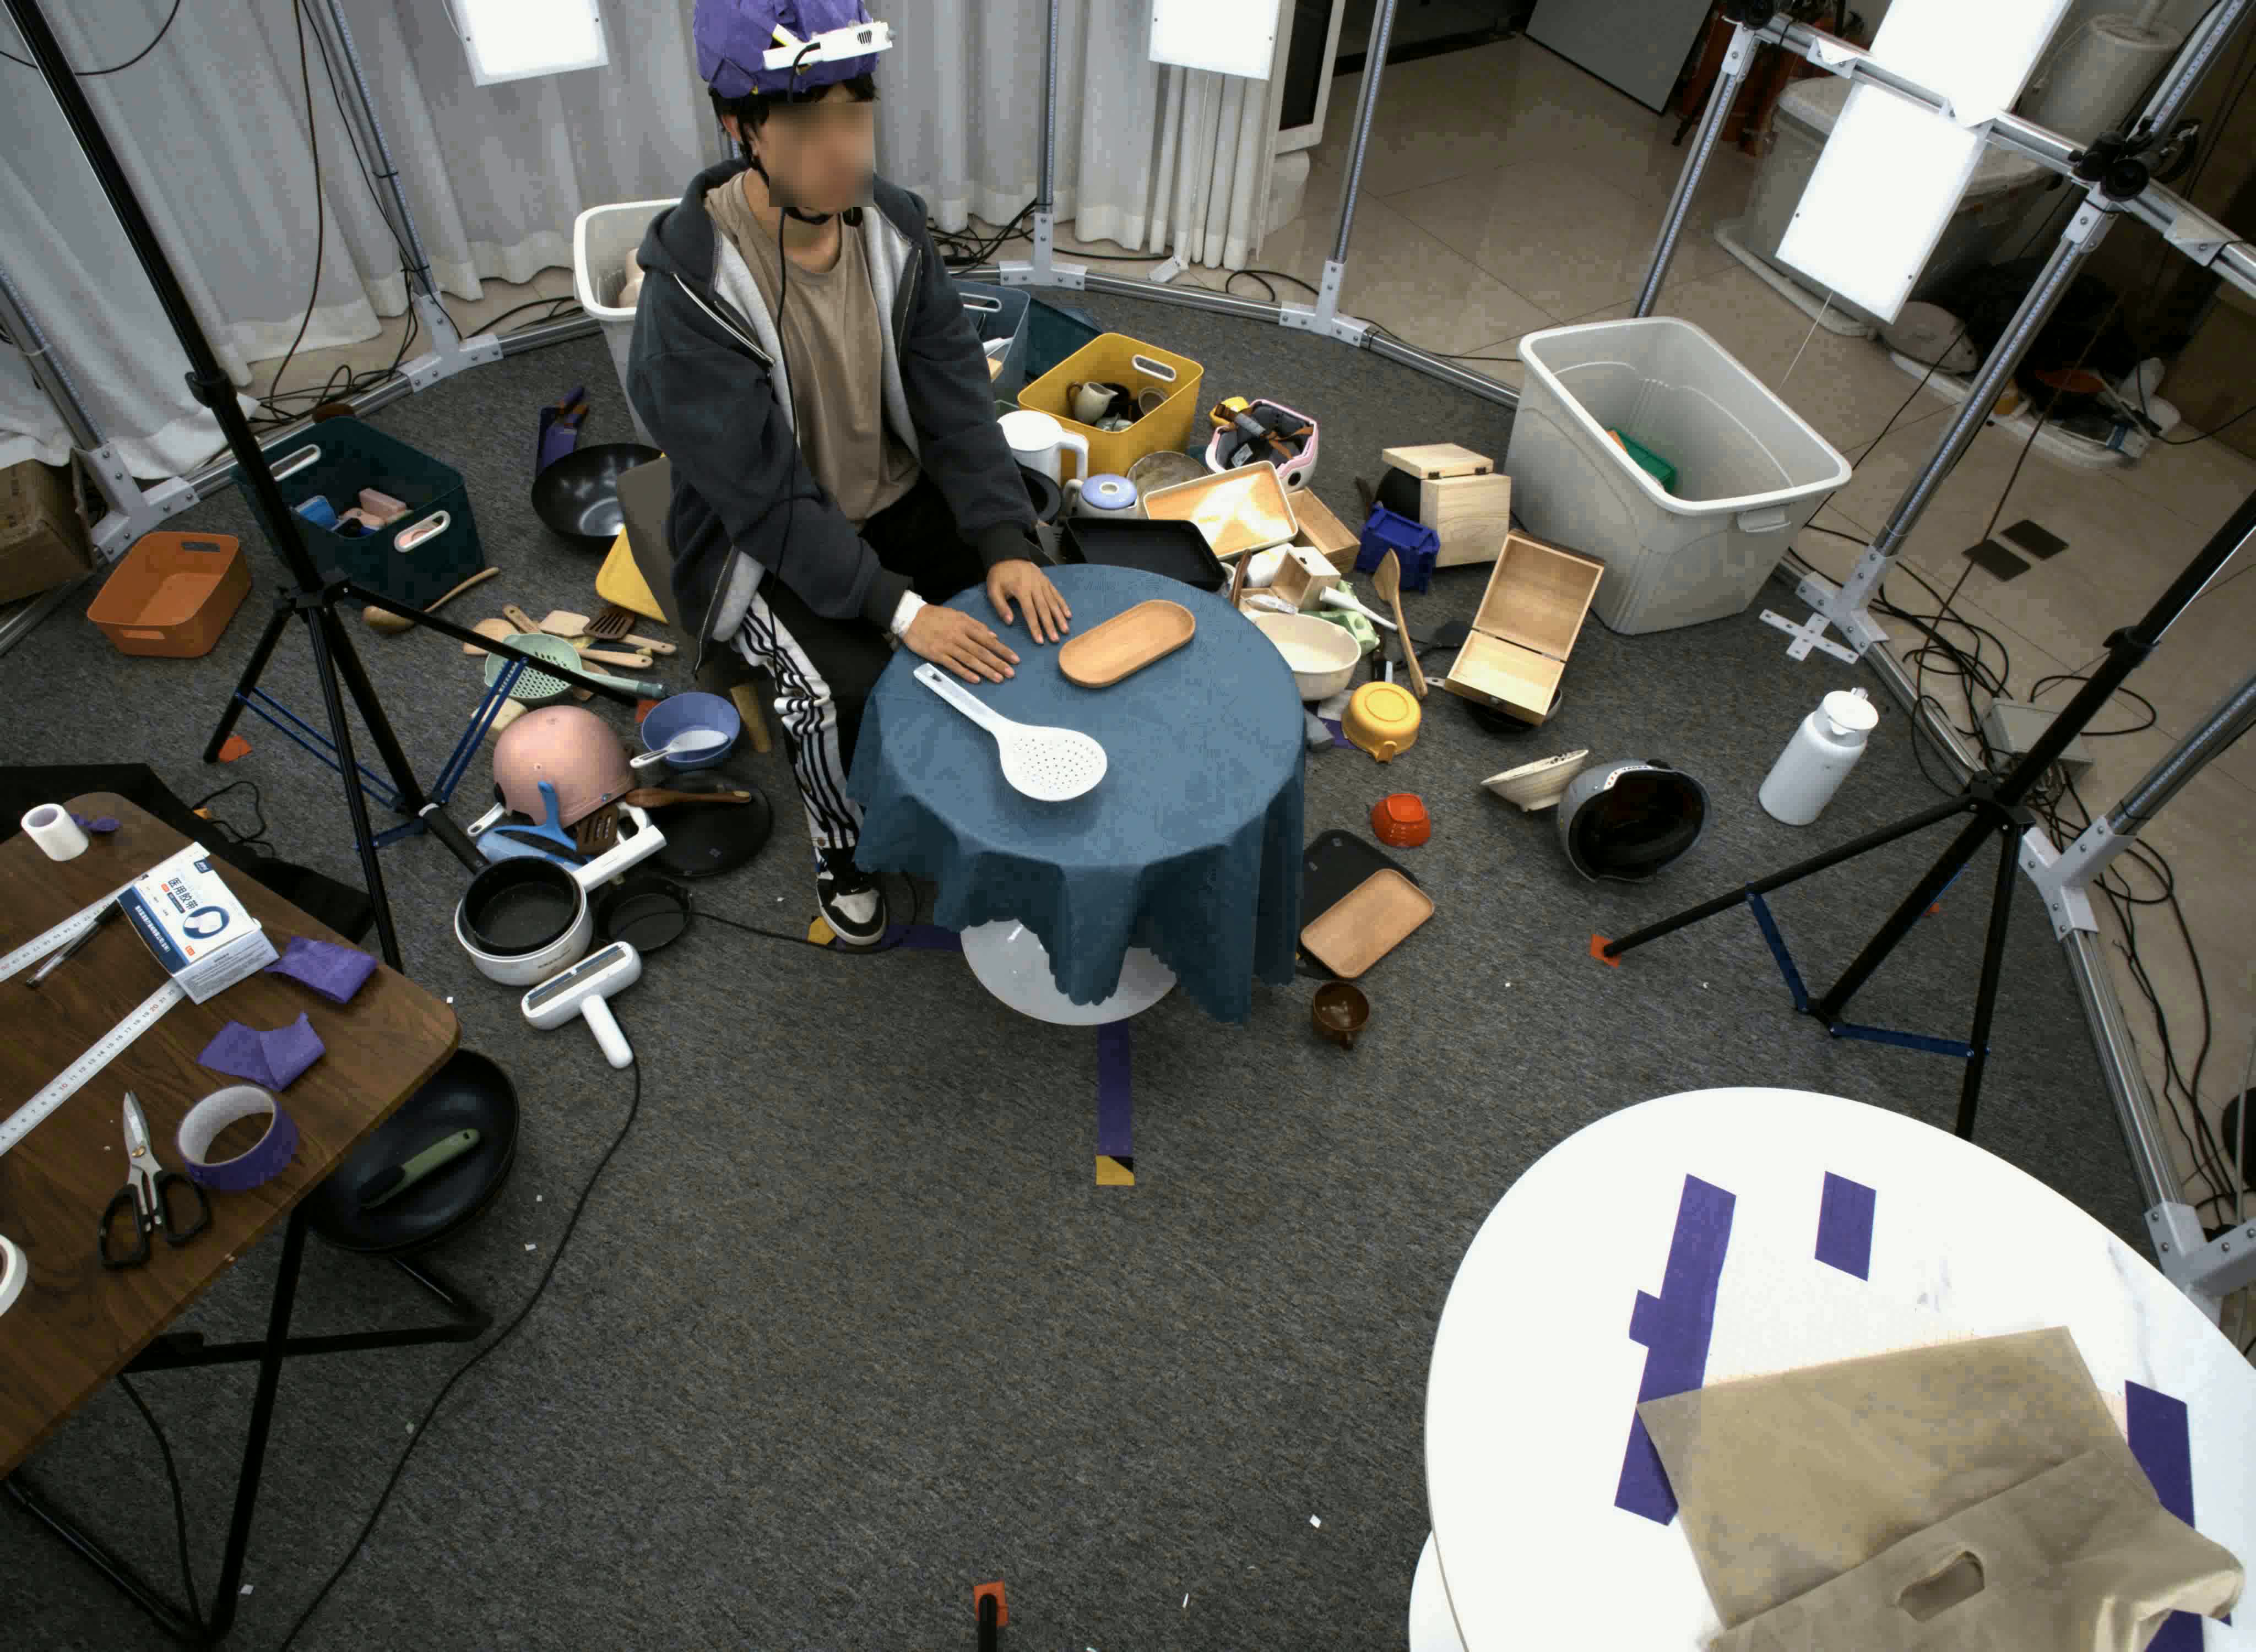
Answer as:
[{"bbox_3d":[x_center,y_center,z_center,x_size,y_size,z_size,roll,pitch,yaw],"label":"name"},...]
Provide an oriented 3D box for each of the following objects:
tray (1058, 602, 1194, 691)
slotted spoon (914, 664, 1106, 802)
[{"bbox_3d":[-0.001,-0.265,1.887,0.233,0.020,0.103,-33,57,-27],"label":"tray"},{"bbox_3d":[-0.173,-0.132,1.739,0.137,0.044,0.355,-34,58,-30],"label":"slotted spoon"}]
